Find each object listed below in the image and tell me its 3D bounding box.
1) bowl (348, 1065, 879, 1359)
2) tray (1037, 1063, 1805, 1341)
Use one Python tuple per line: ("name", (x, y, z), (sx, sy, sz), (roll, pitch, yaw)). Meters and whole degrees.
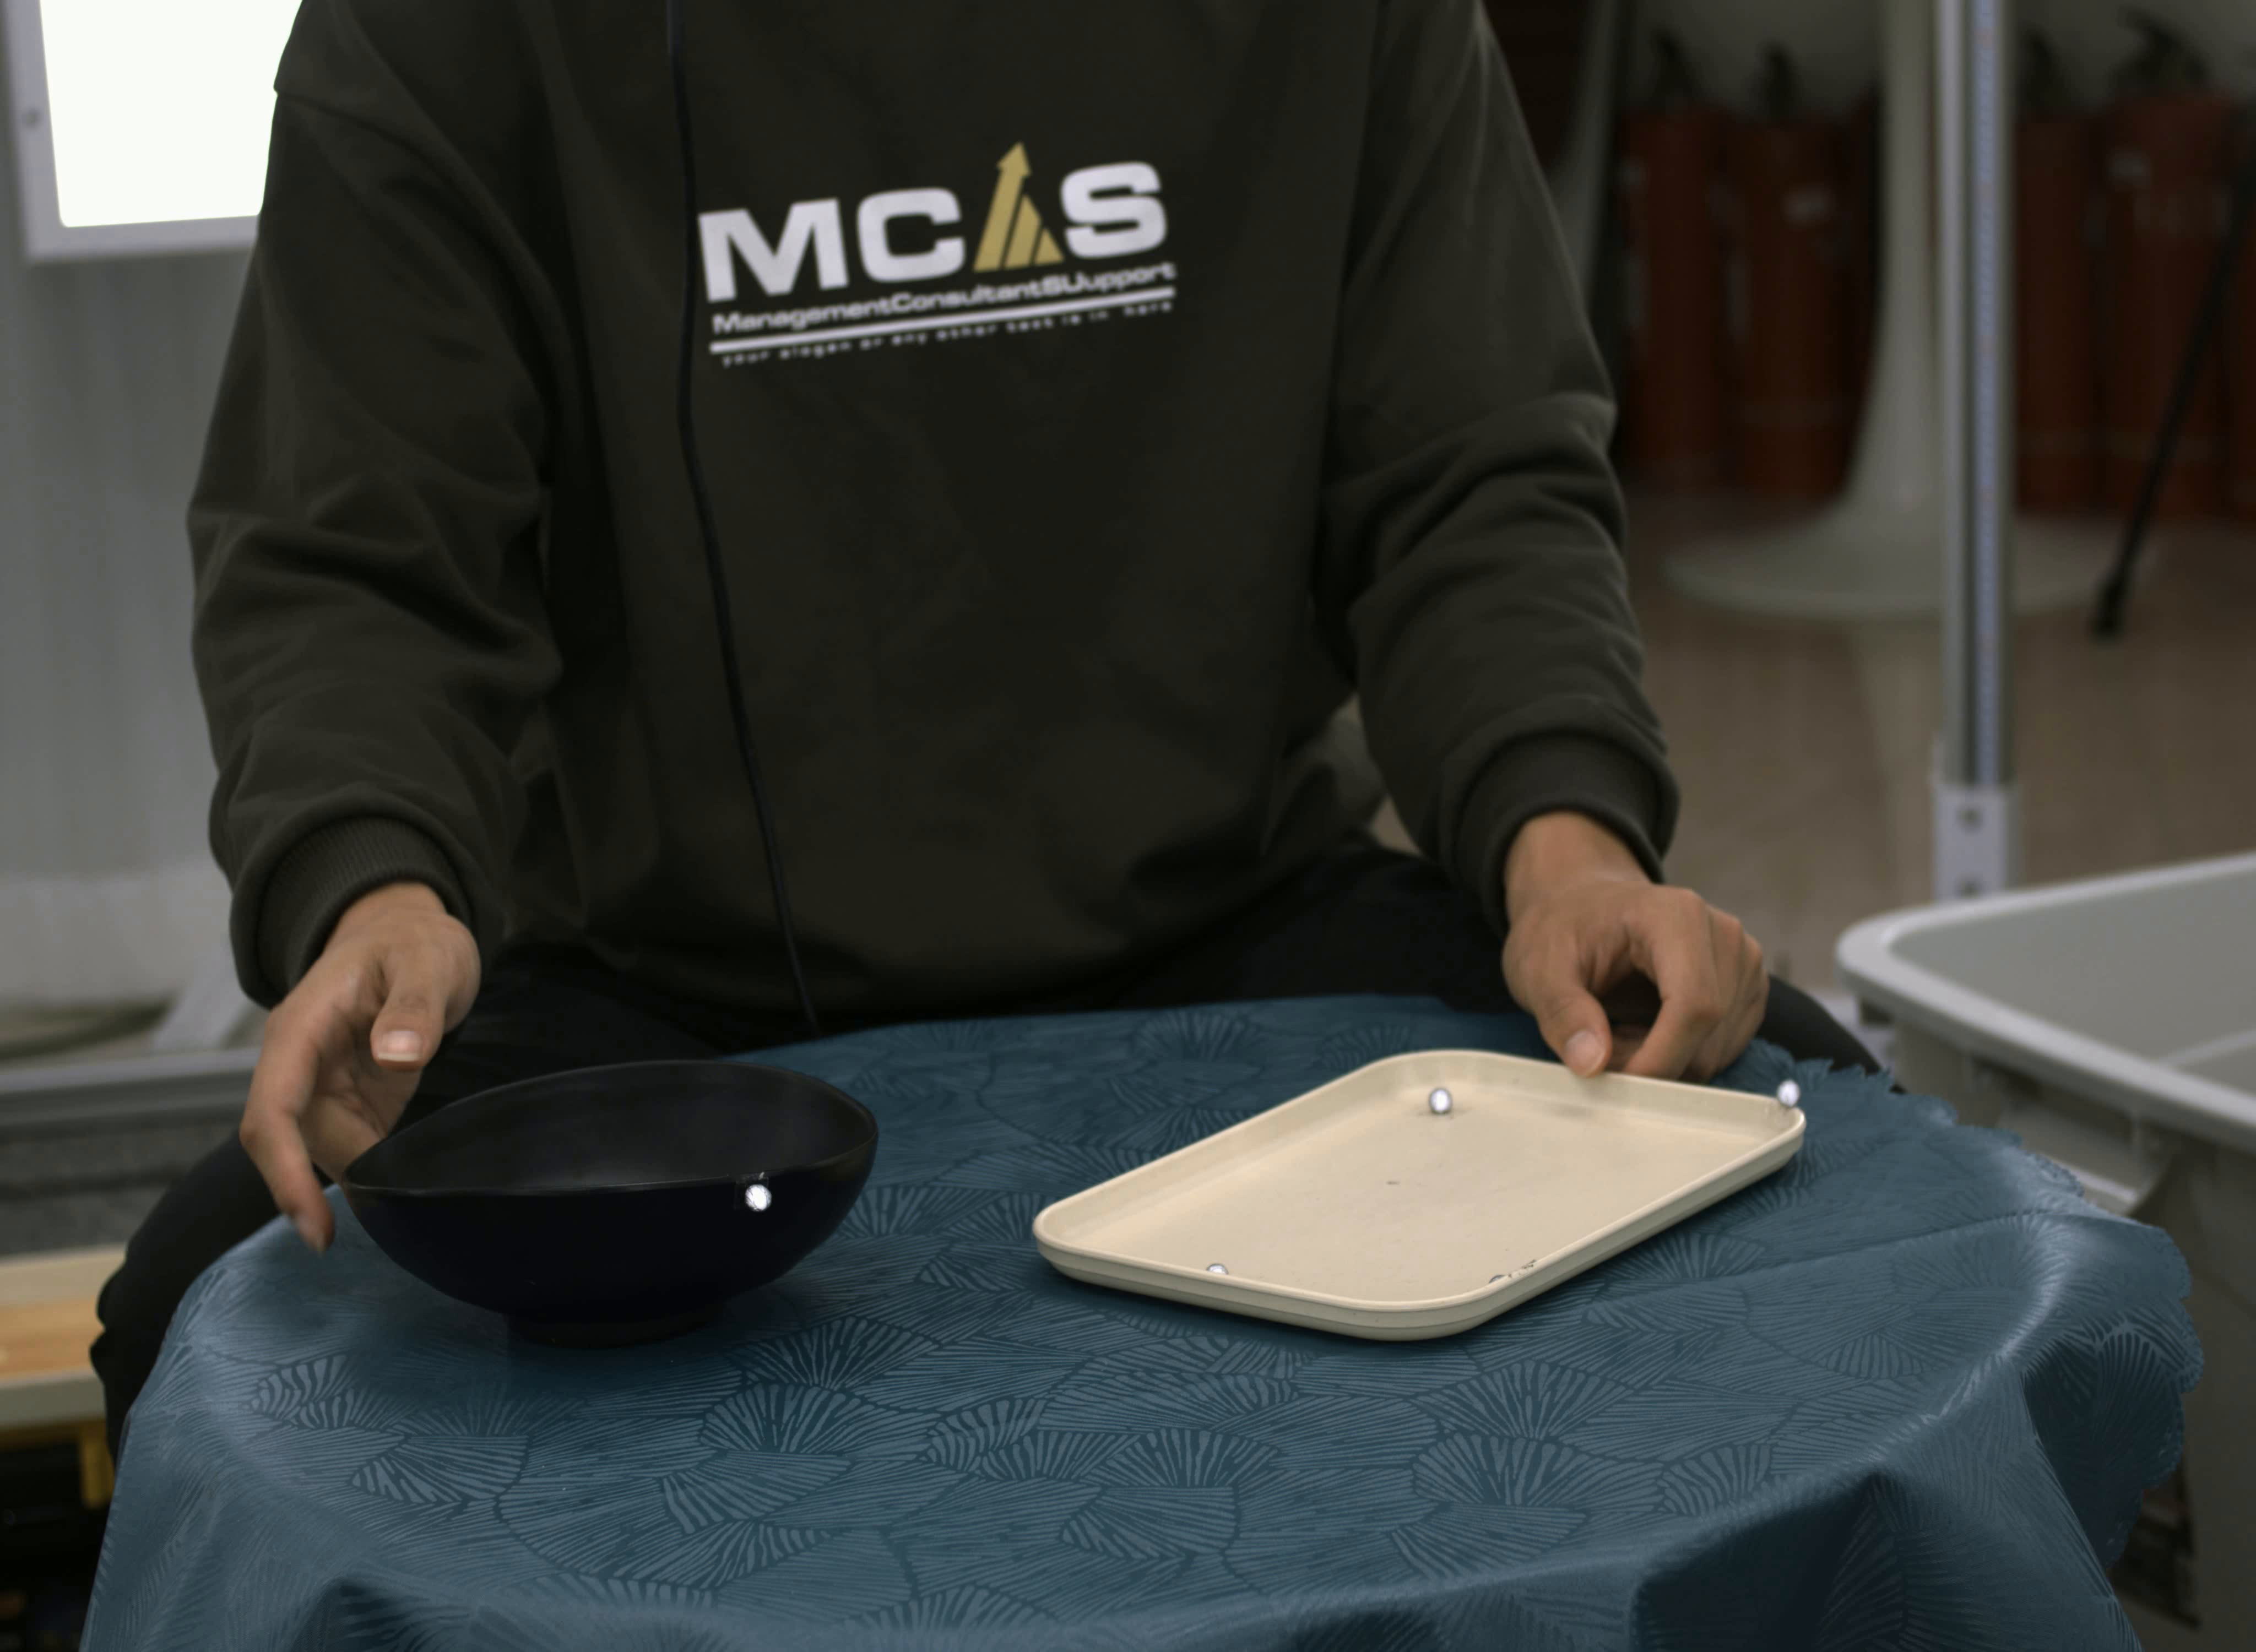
("bowl", (-0.158, 0.124, 1.675), (0.169, 0.067, 0.137), (-3, 12, 8))
("tray", (0.097, 0.119, 1.724), (0.172, 0.017, 0.235), (6, 16, 38))
